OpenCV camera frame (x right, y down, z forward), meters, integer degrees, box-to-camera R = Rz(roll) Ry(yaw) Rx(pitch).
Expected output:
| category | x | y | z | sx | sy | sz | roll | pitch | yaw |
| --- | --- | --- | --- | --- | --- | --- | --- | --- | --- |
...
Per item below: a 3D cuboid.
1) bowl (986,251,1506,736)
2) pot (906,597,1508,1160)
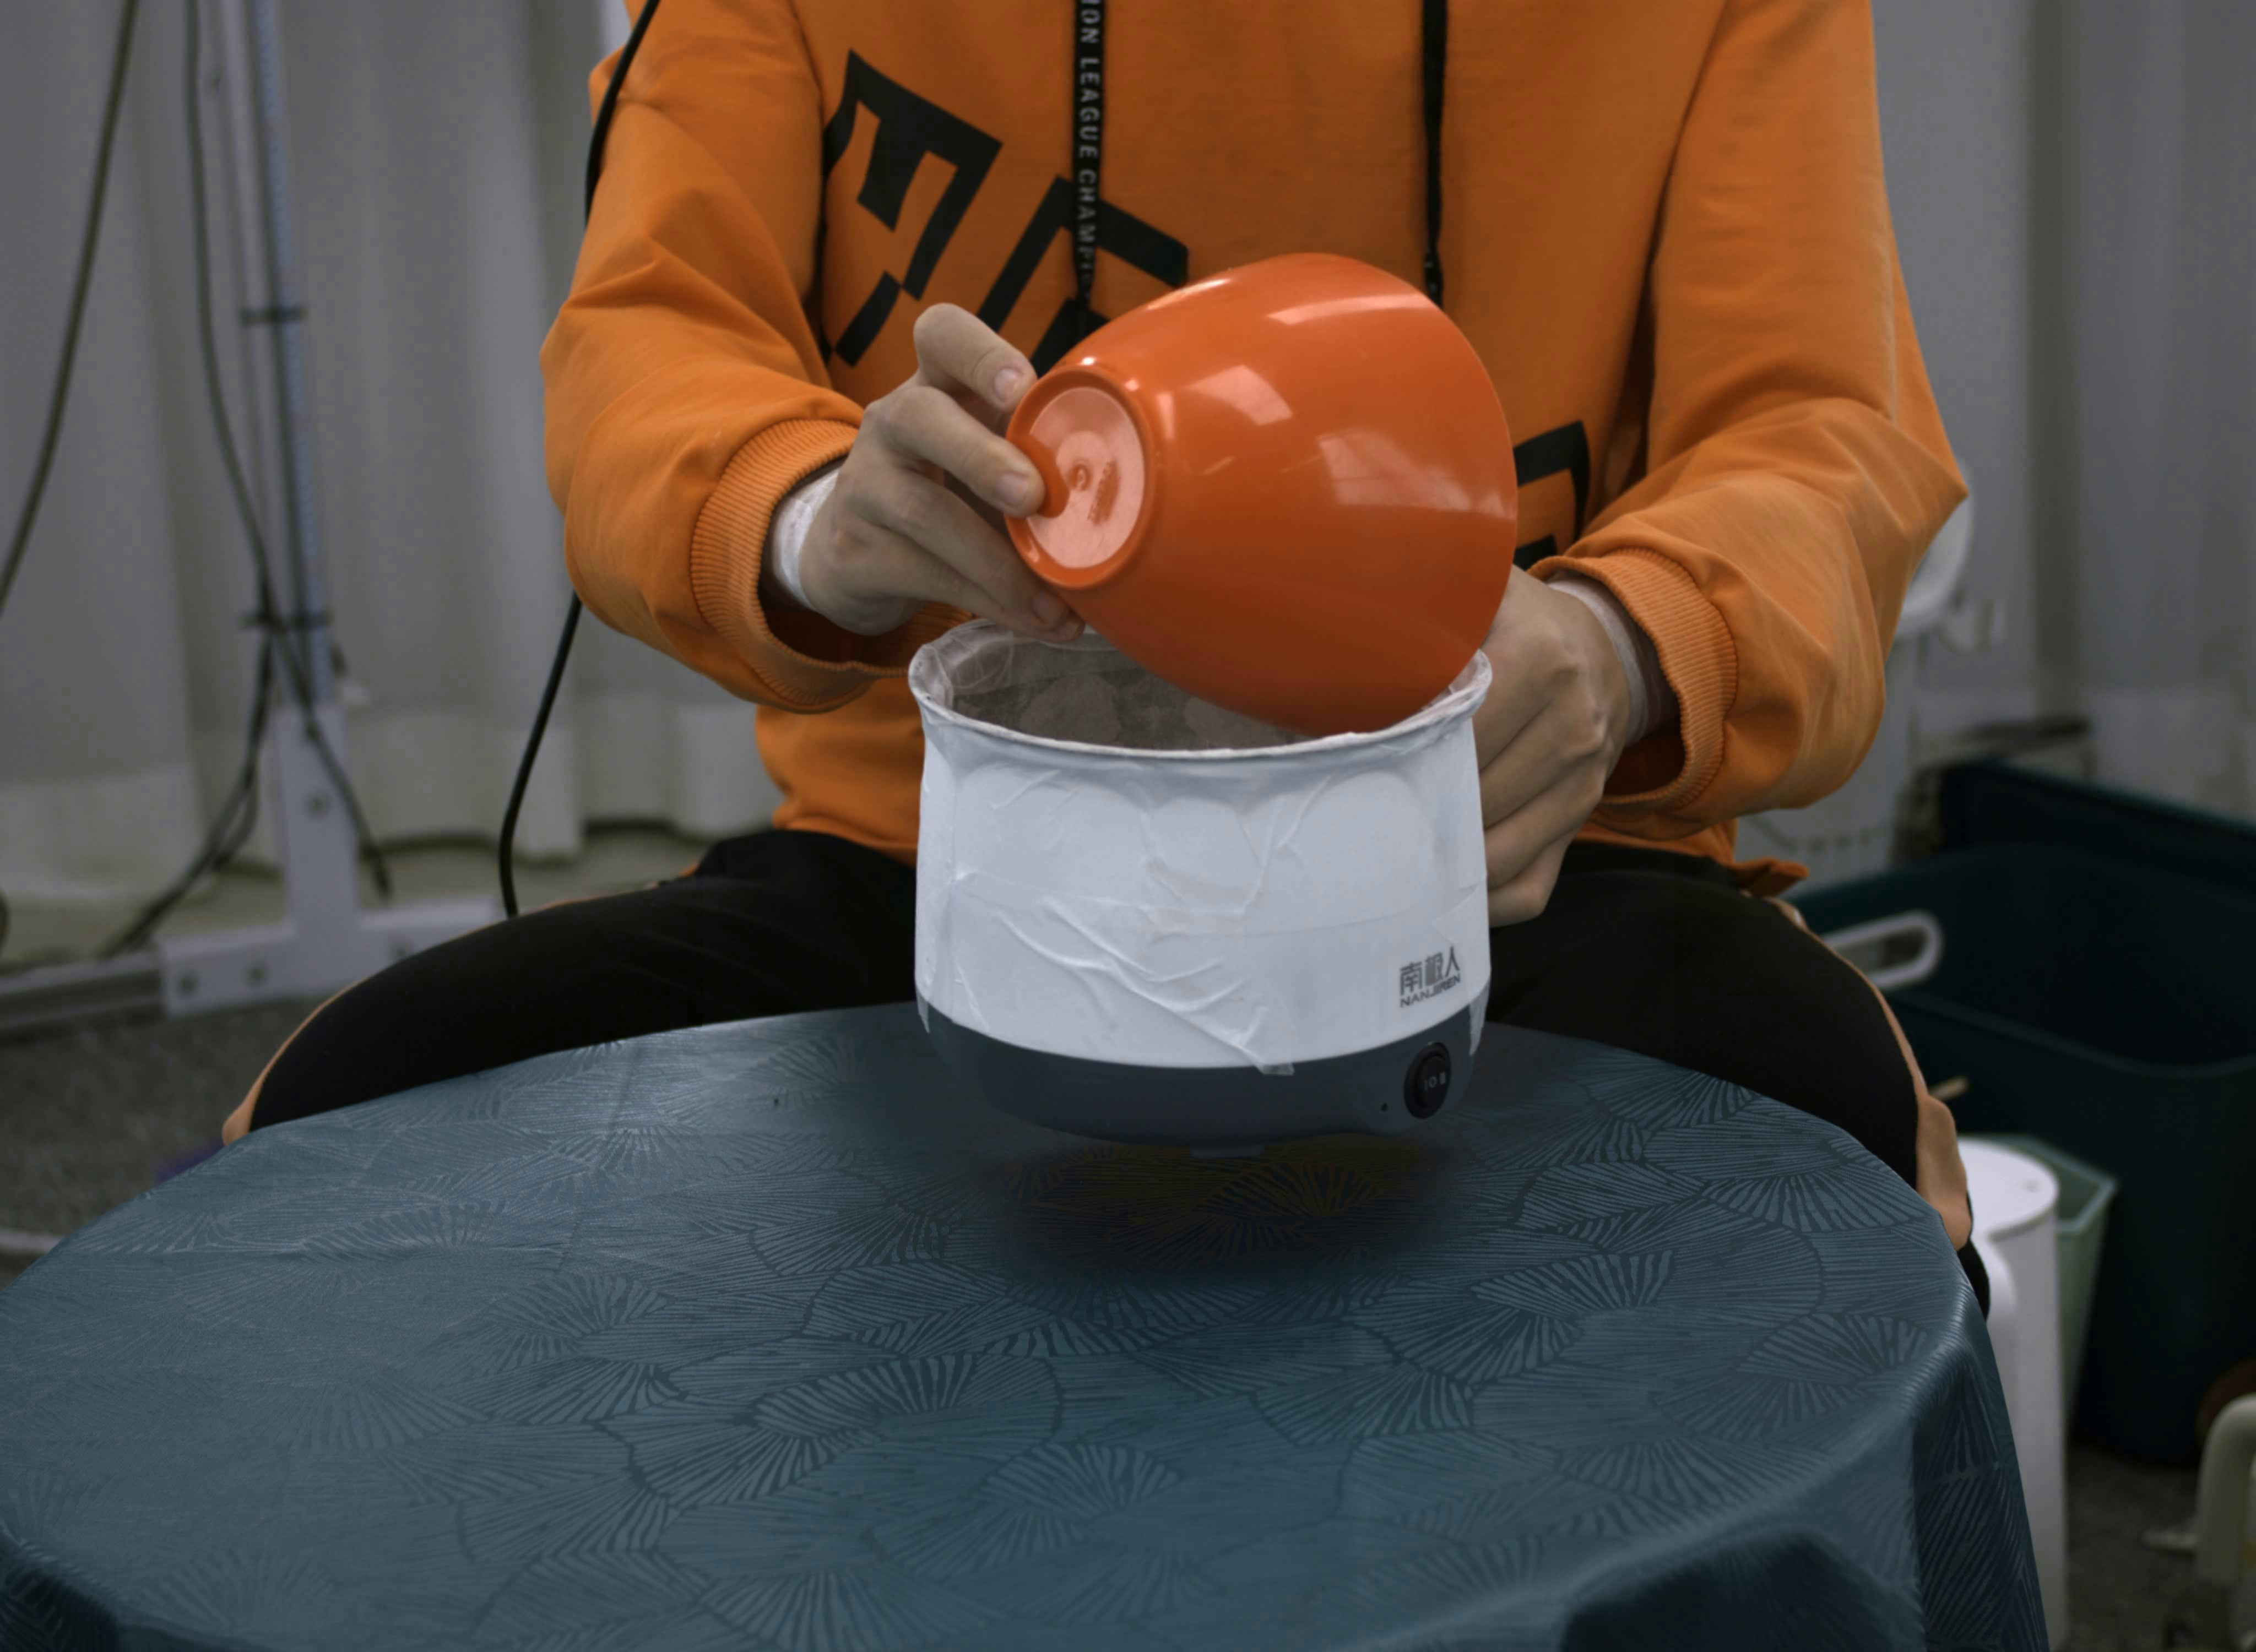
| category | x | y | z | sx | sy | sz | roll | pitch | yaw |
| --- | --- | --- | --- | --- | --- | --- | --- | --- | --- |
| bowl | 0.024 | -0.100 | 1.637 | 0.104 | 0.148 | 0.149 | -2 | 10 | -45 |
| pot | 0.039 | 0.006 | 1.690 | 0.179 | 0.136 | 0.233 | 13 | 22 | 36 |
